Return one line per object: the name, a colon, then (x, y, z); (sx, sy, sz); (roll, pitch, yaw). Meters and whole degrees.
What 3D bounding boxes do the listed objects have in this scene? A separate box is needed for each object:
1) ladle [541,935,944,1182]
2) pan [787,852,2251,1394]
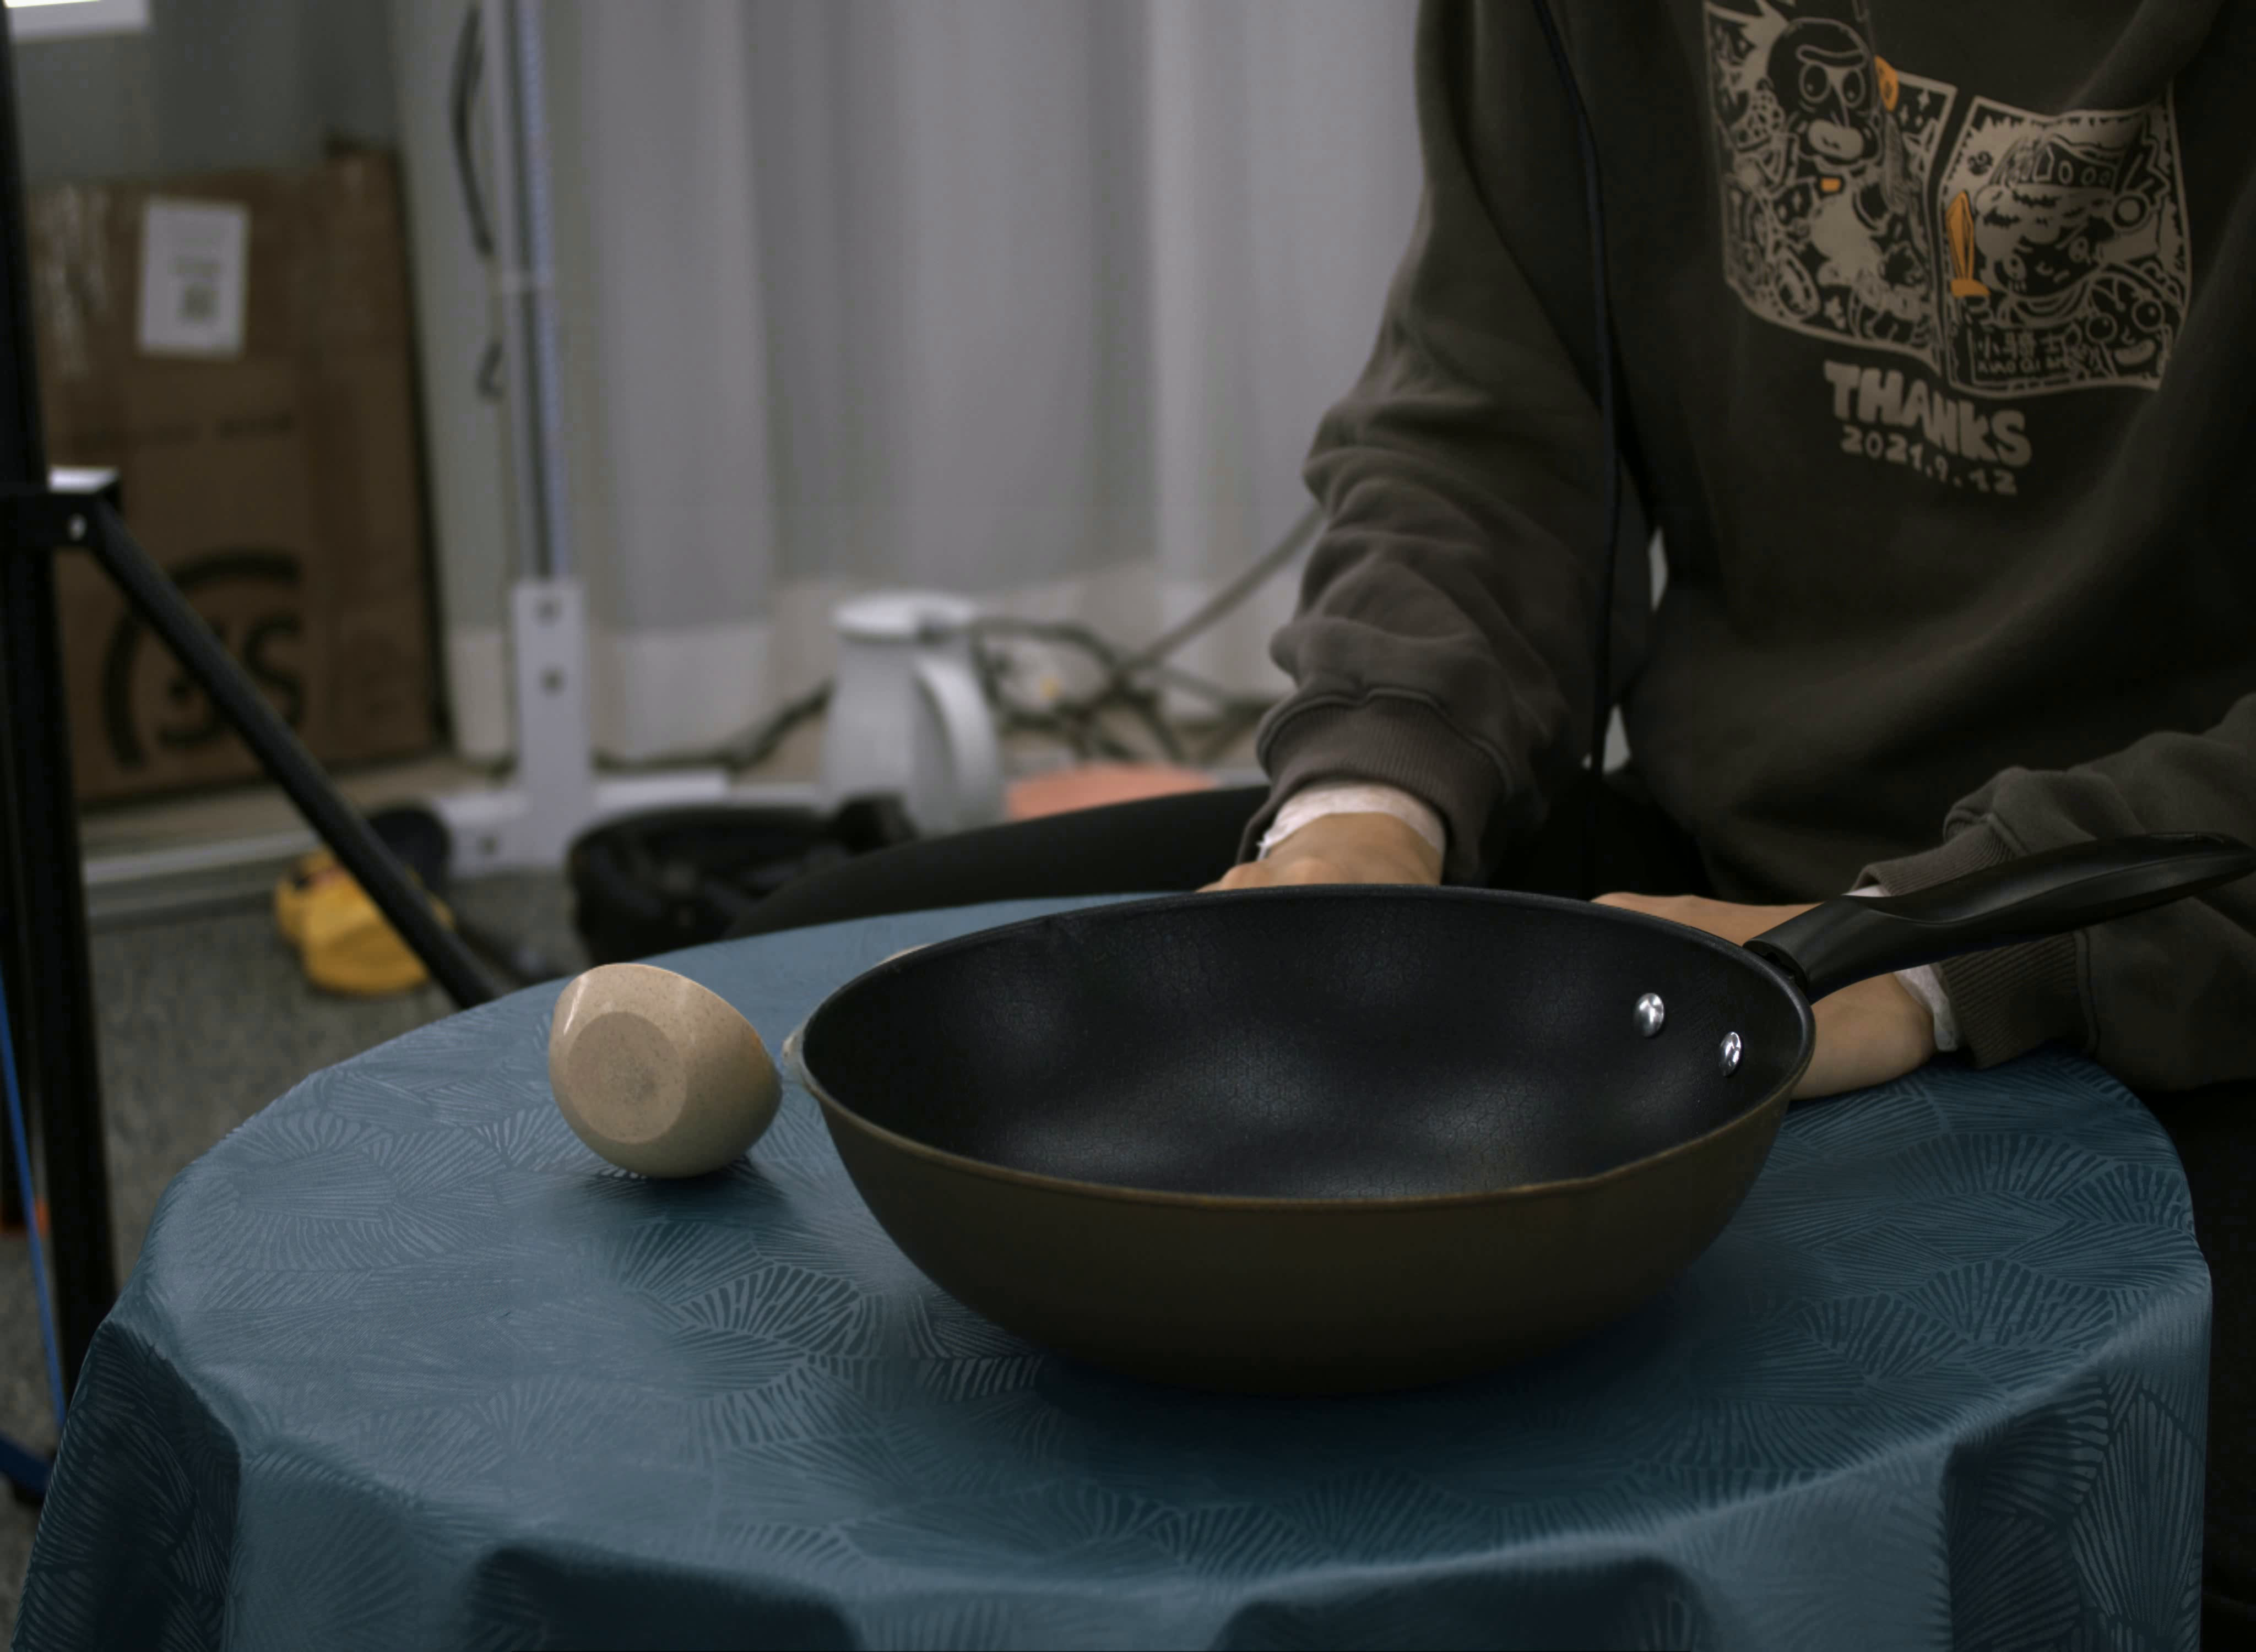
ladle: (-0.110, 0.043, 1.677); (0.073, 0.073, 0.252); (-4, 16, 20)
pan: (0.127, 0.077, 1.497); (0.453, 0.087, 0.294); (-9, 17, -25)
